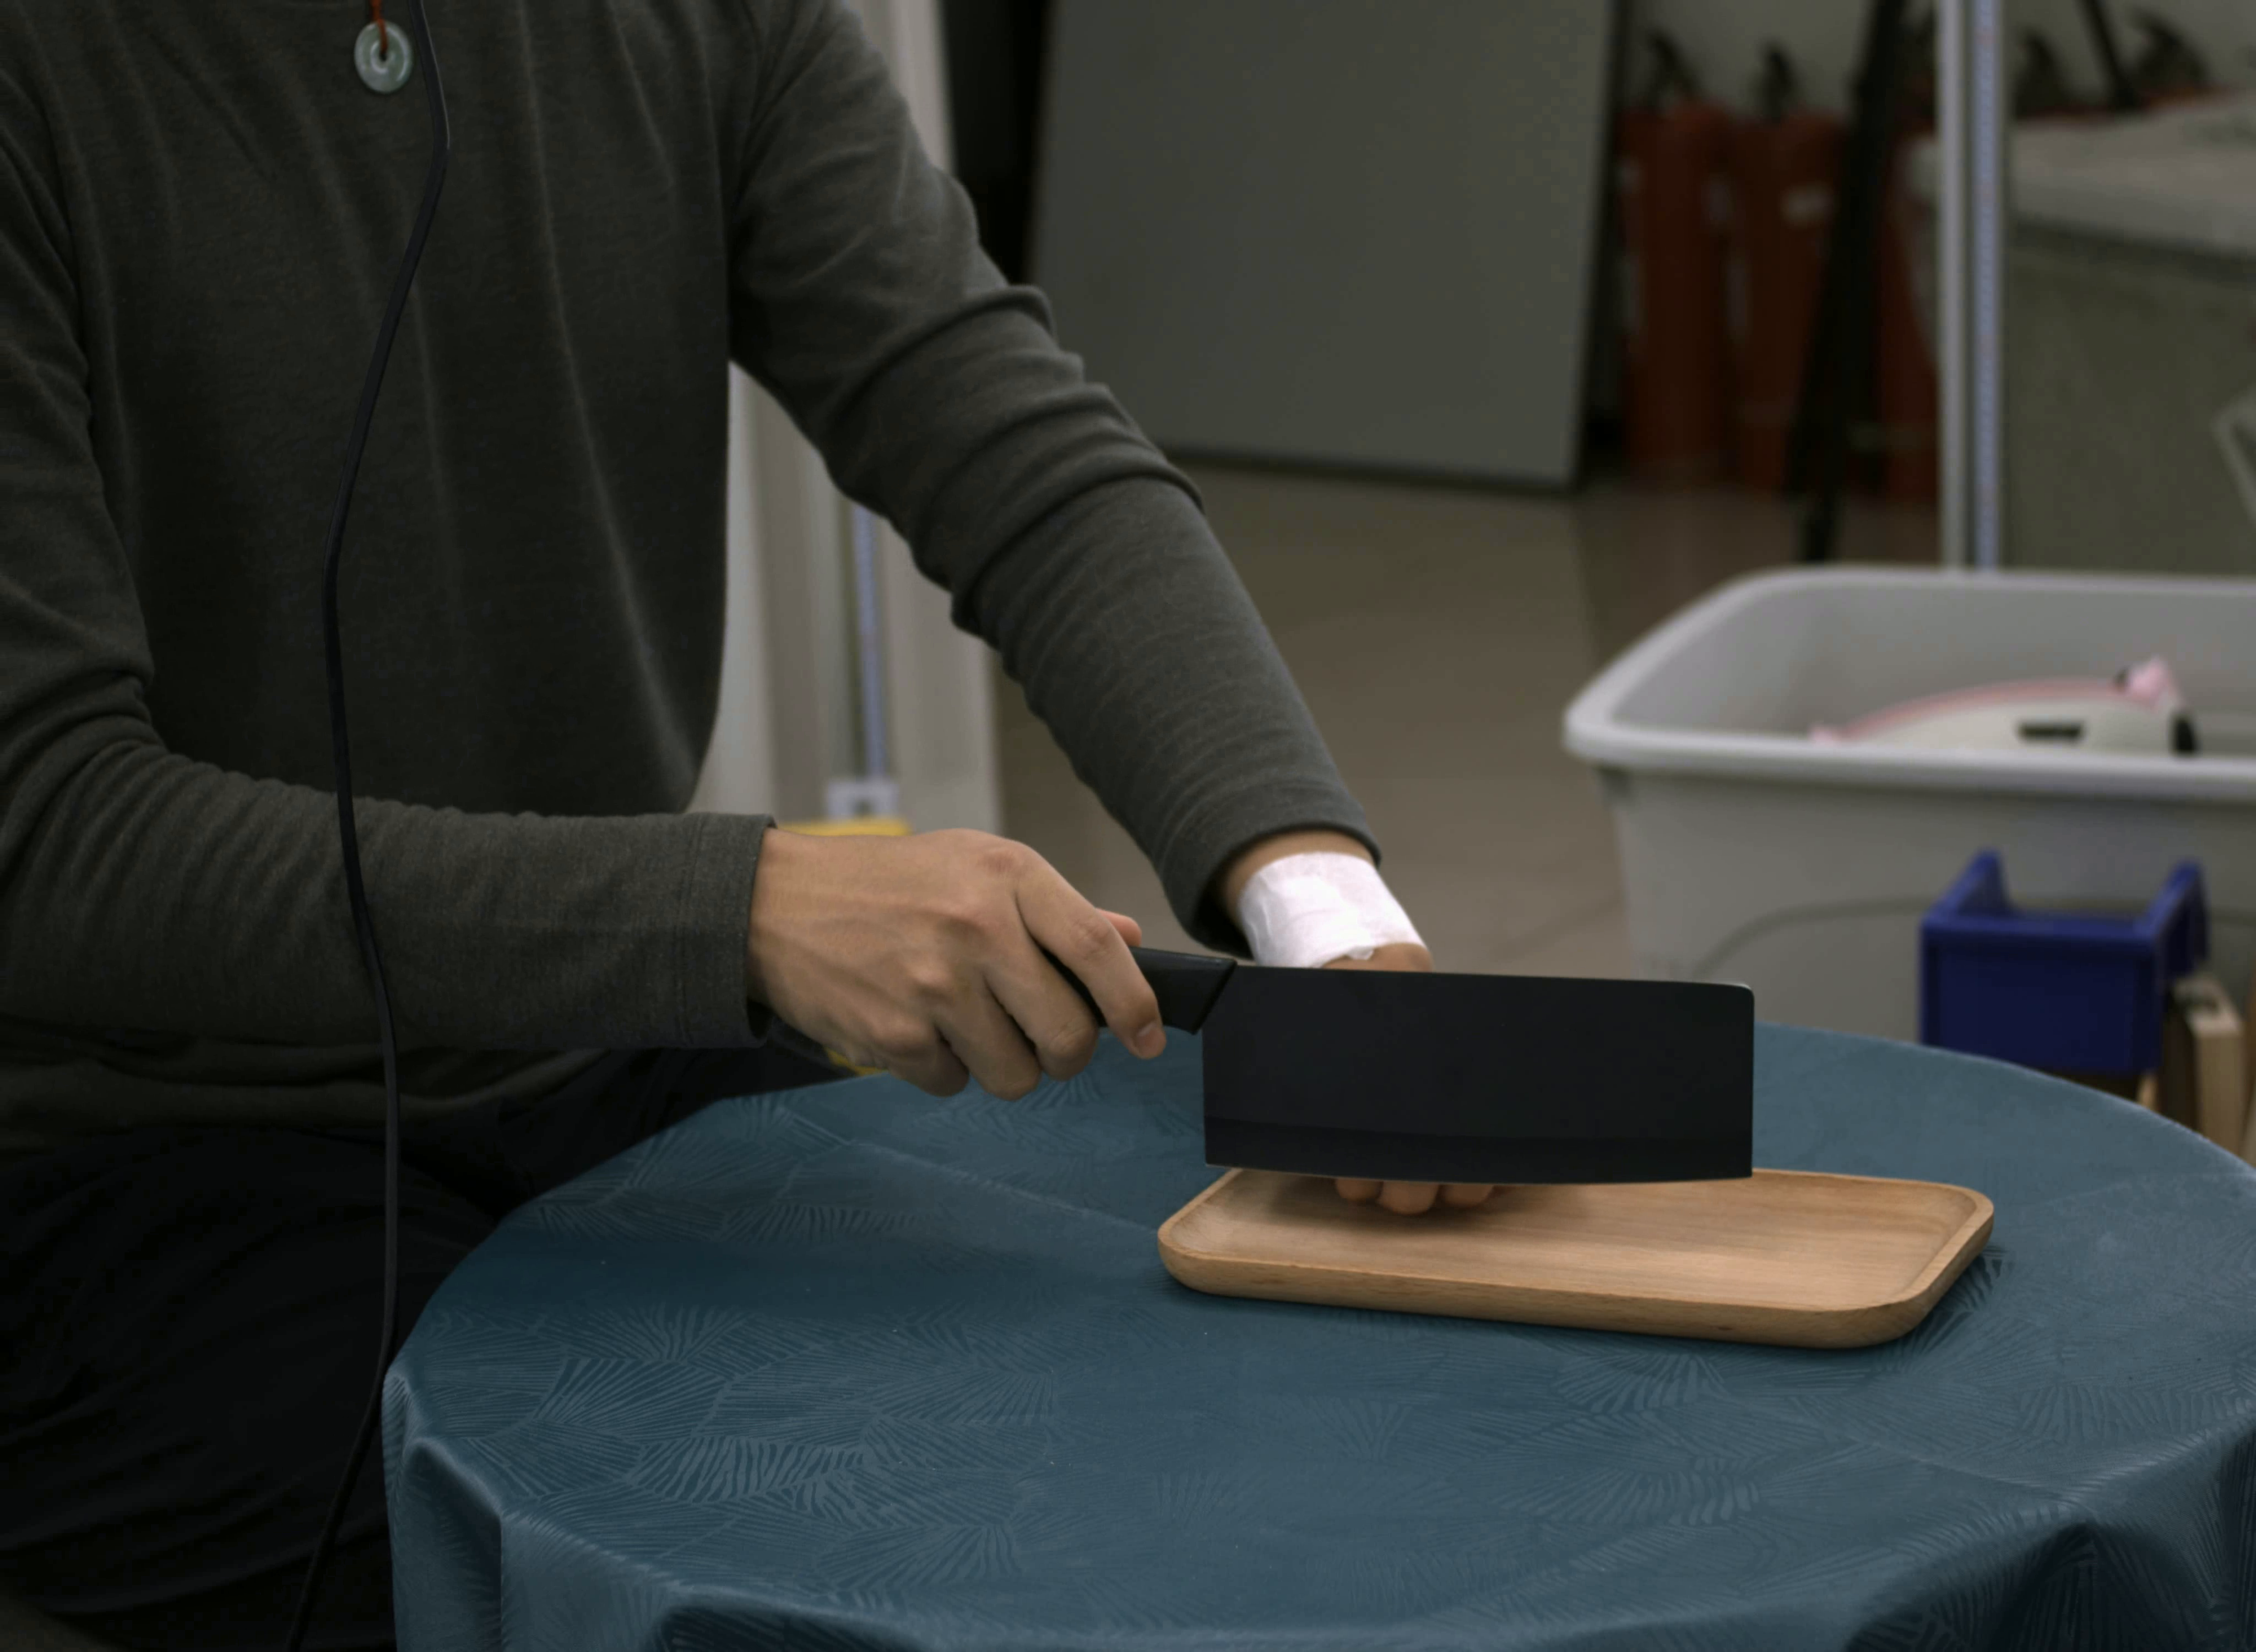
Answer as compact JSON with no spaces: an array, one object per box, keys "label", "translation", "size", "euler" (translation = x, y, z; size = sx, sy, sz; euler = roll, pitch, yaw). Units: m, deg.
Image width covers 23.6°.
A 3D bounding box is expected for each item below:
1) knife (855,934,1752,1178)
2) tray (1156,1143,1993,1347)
[{"label":"knife","translation":[0.052,0.070,1.686],"size":[0.302,0.082,0.020],"euler":[5,5,23]},{"label":"tray","translation":[0.138,0.129,1.671],"size":[0.251,0.023,0.129],"euler":[1,12,27]}]
